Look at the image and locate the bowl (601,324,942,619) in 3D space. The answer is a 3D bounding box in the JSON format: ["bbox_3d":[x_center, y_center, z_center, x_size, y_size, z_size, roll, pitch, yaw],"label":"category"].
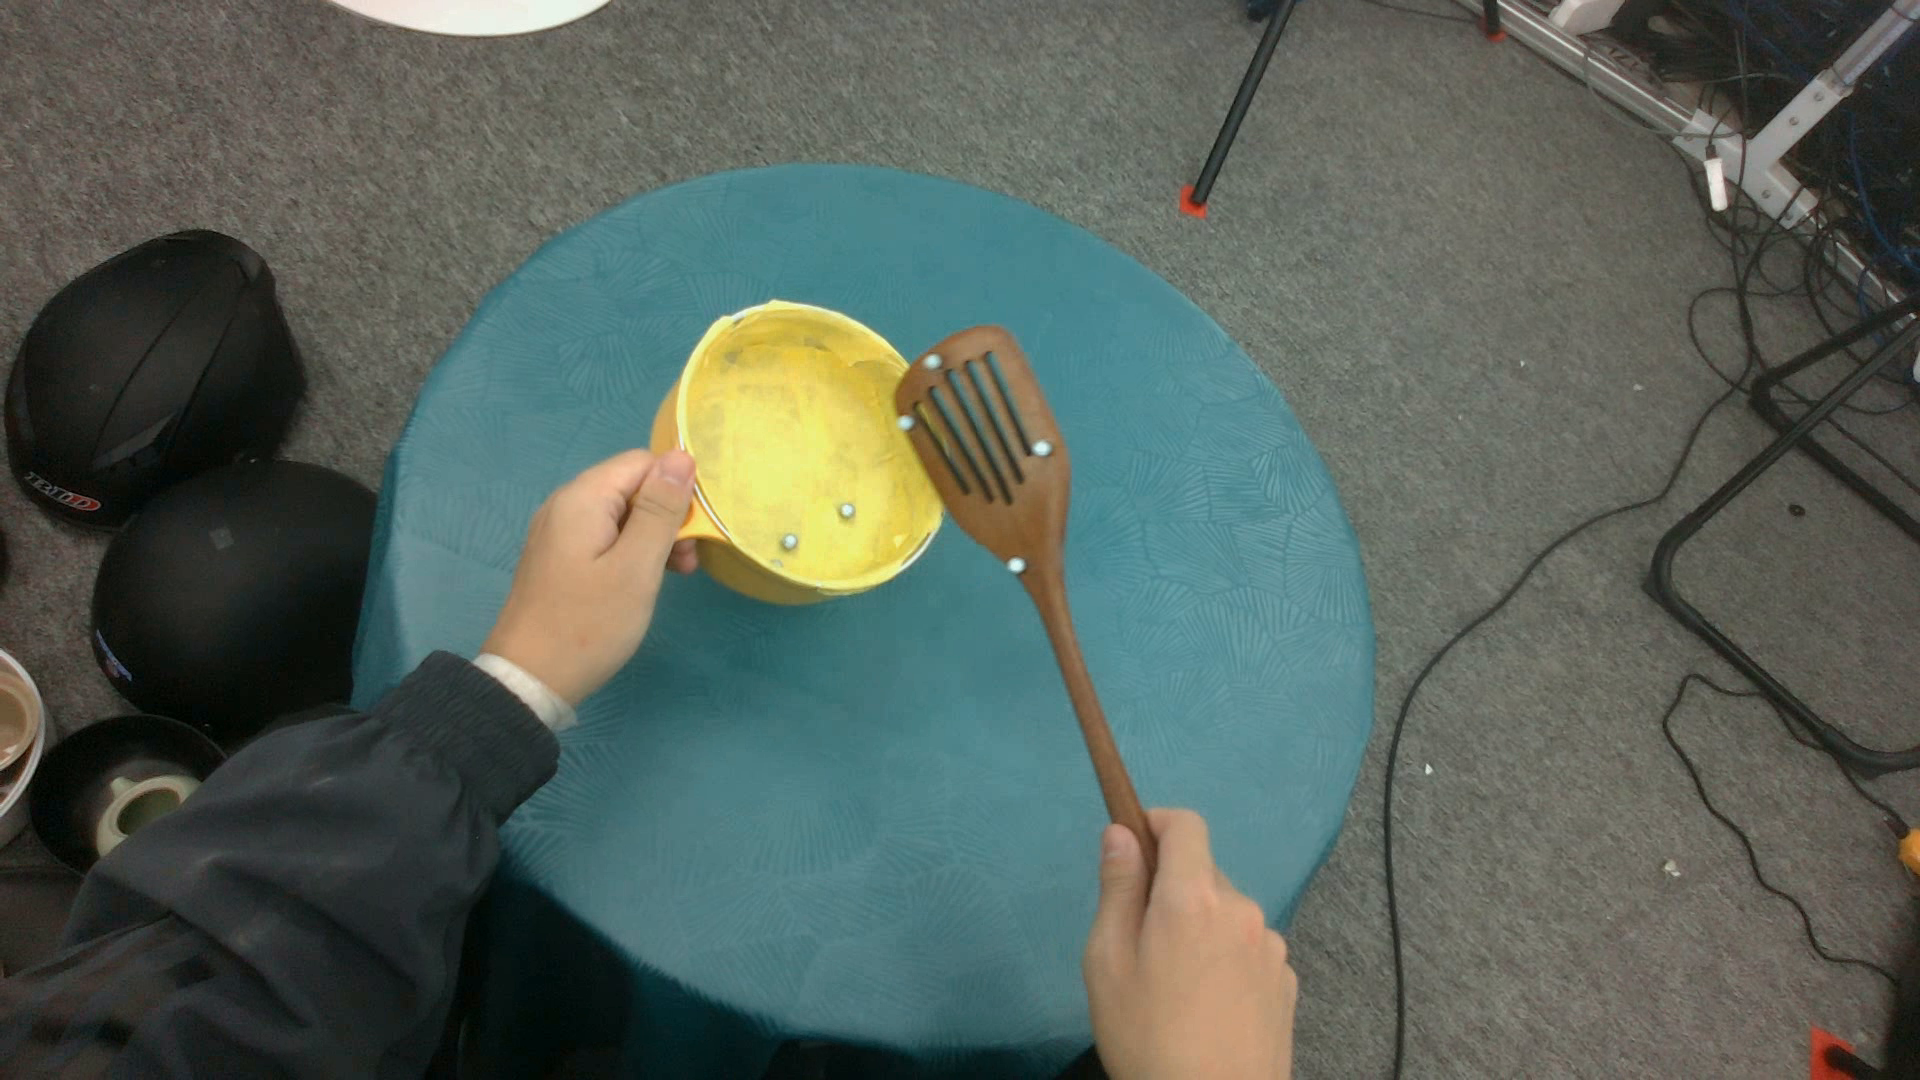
[{"bbox_3d":[-0.101,-0.026,0.717,0.180,0.074,0.153,-38,93,-38],"label":"bowl"}]

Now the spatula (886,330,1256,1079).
[{"bbox_3d":[0.058,0.075,0.668,0.024,0.085,0.387,0,64,-52],"label":"spatula"}]
